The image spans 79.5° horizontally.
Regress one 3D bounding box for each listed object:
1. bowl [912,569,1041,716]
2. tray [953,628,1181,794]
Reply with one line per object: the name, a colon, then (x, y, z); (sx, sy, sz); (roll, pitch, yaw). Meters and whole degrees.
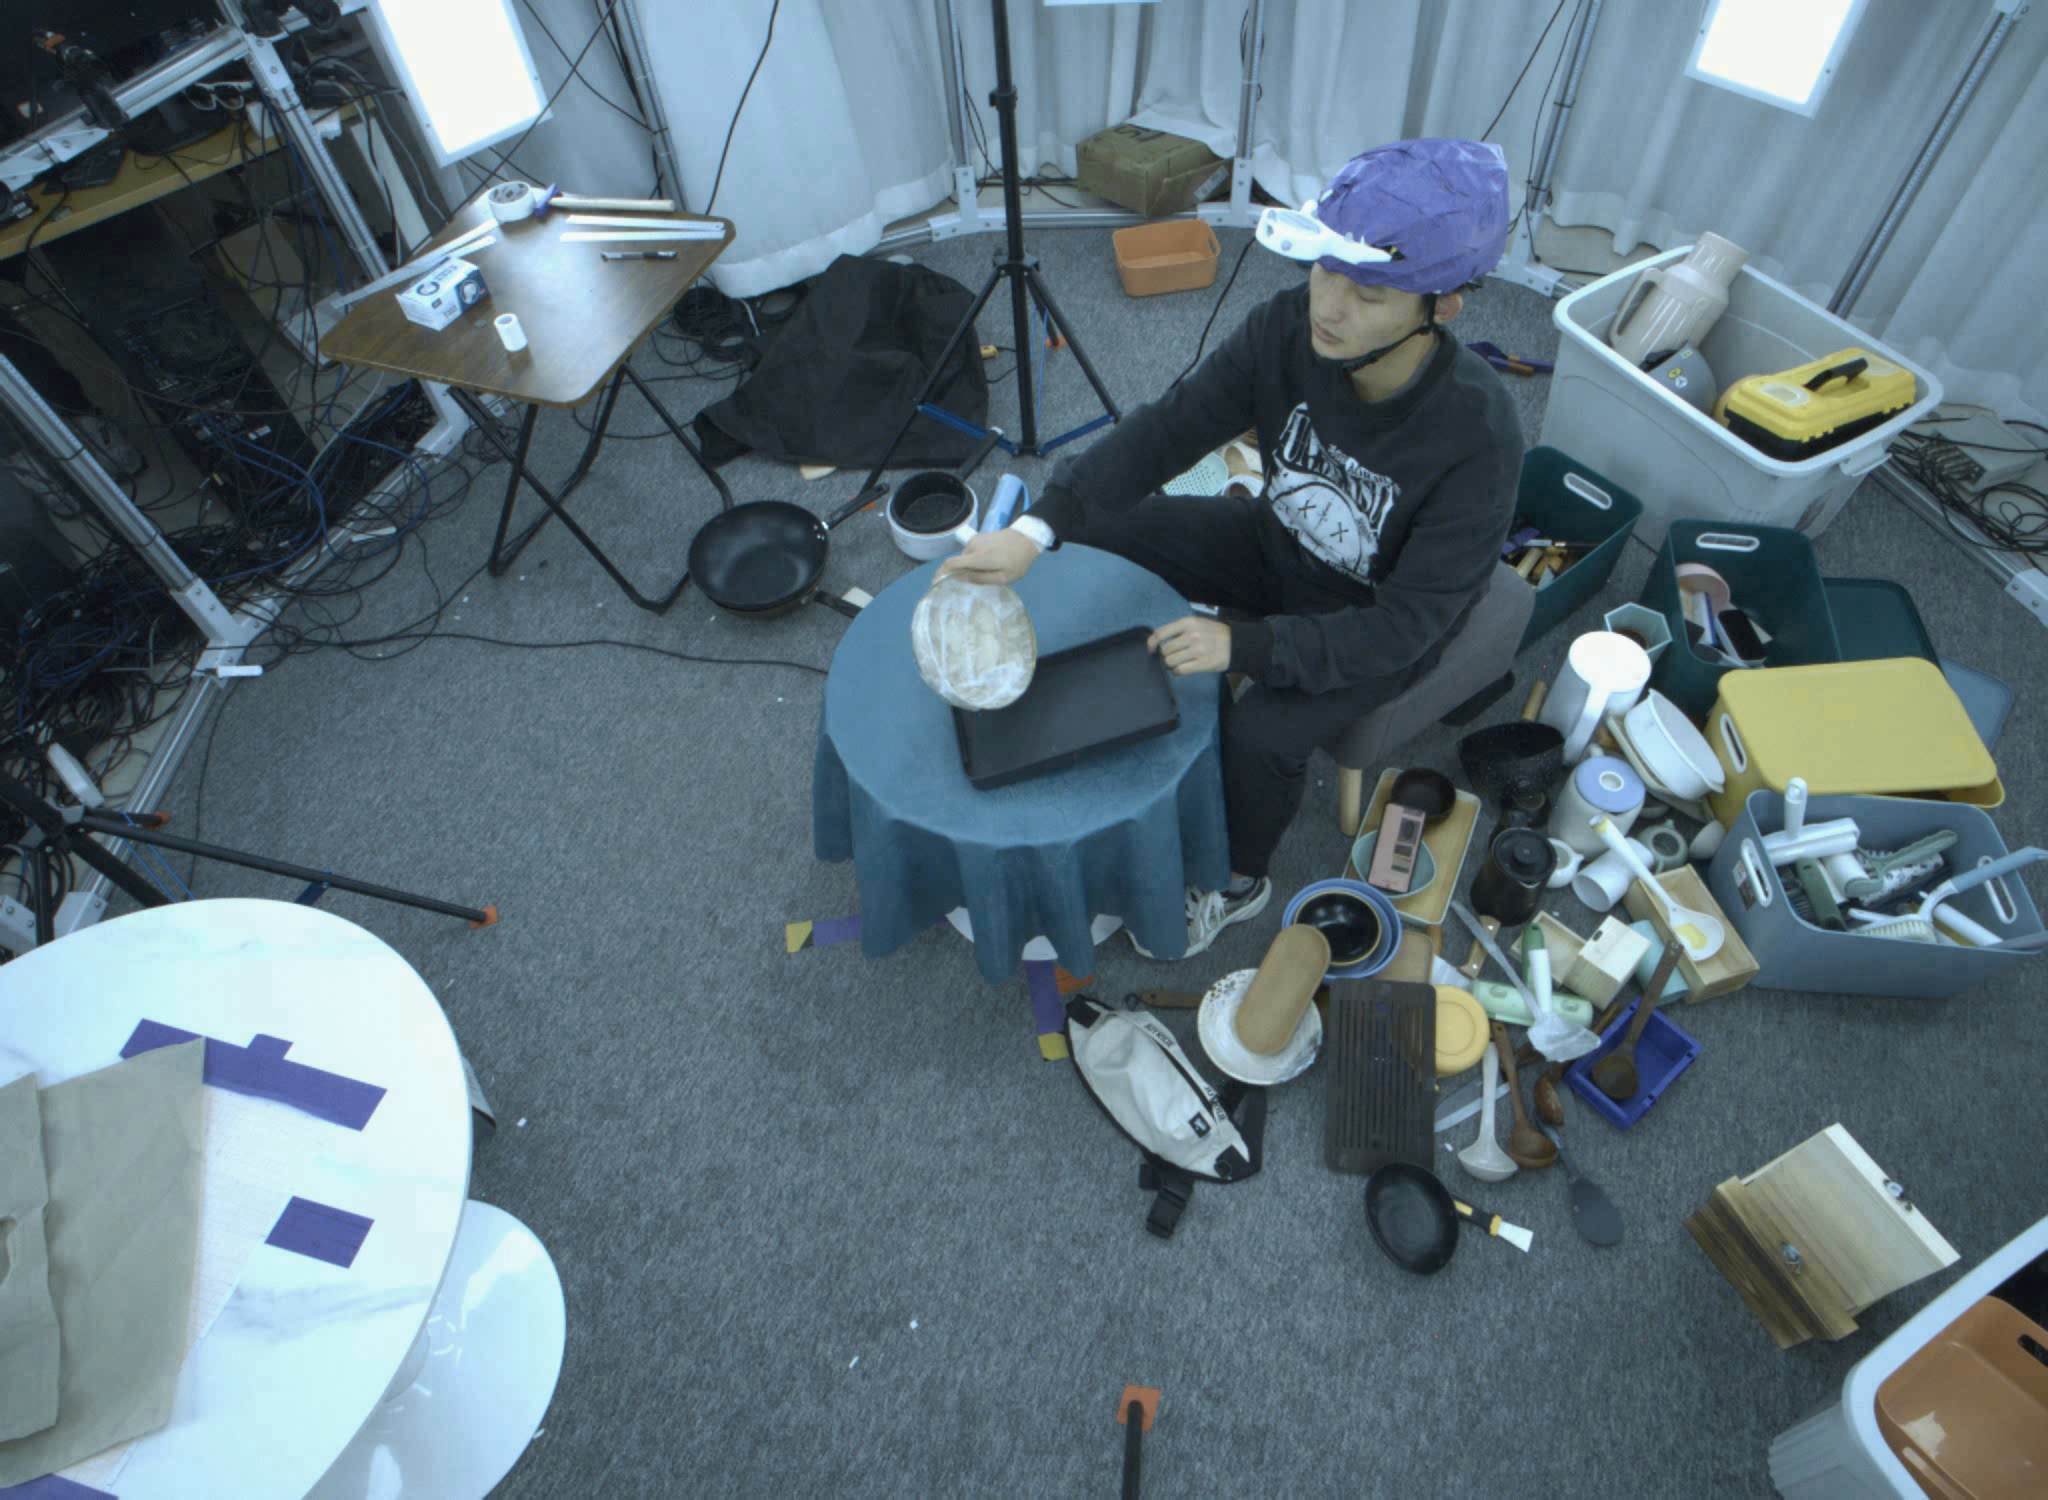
bowl: (-0.080, -0.142, 1.719); (0.093, 0.219, 0.214); (-13, 43, 45)
tray: (0.059, -0.057, 1.779); (0.317, 0.037, 0.181); (-16, 56, 7)
